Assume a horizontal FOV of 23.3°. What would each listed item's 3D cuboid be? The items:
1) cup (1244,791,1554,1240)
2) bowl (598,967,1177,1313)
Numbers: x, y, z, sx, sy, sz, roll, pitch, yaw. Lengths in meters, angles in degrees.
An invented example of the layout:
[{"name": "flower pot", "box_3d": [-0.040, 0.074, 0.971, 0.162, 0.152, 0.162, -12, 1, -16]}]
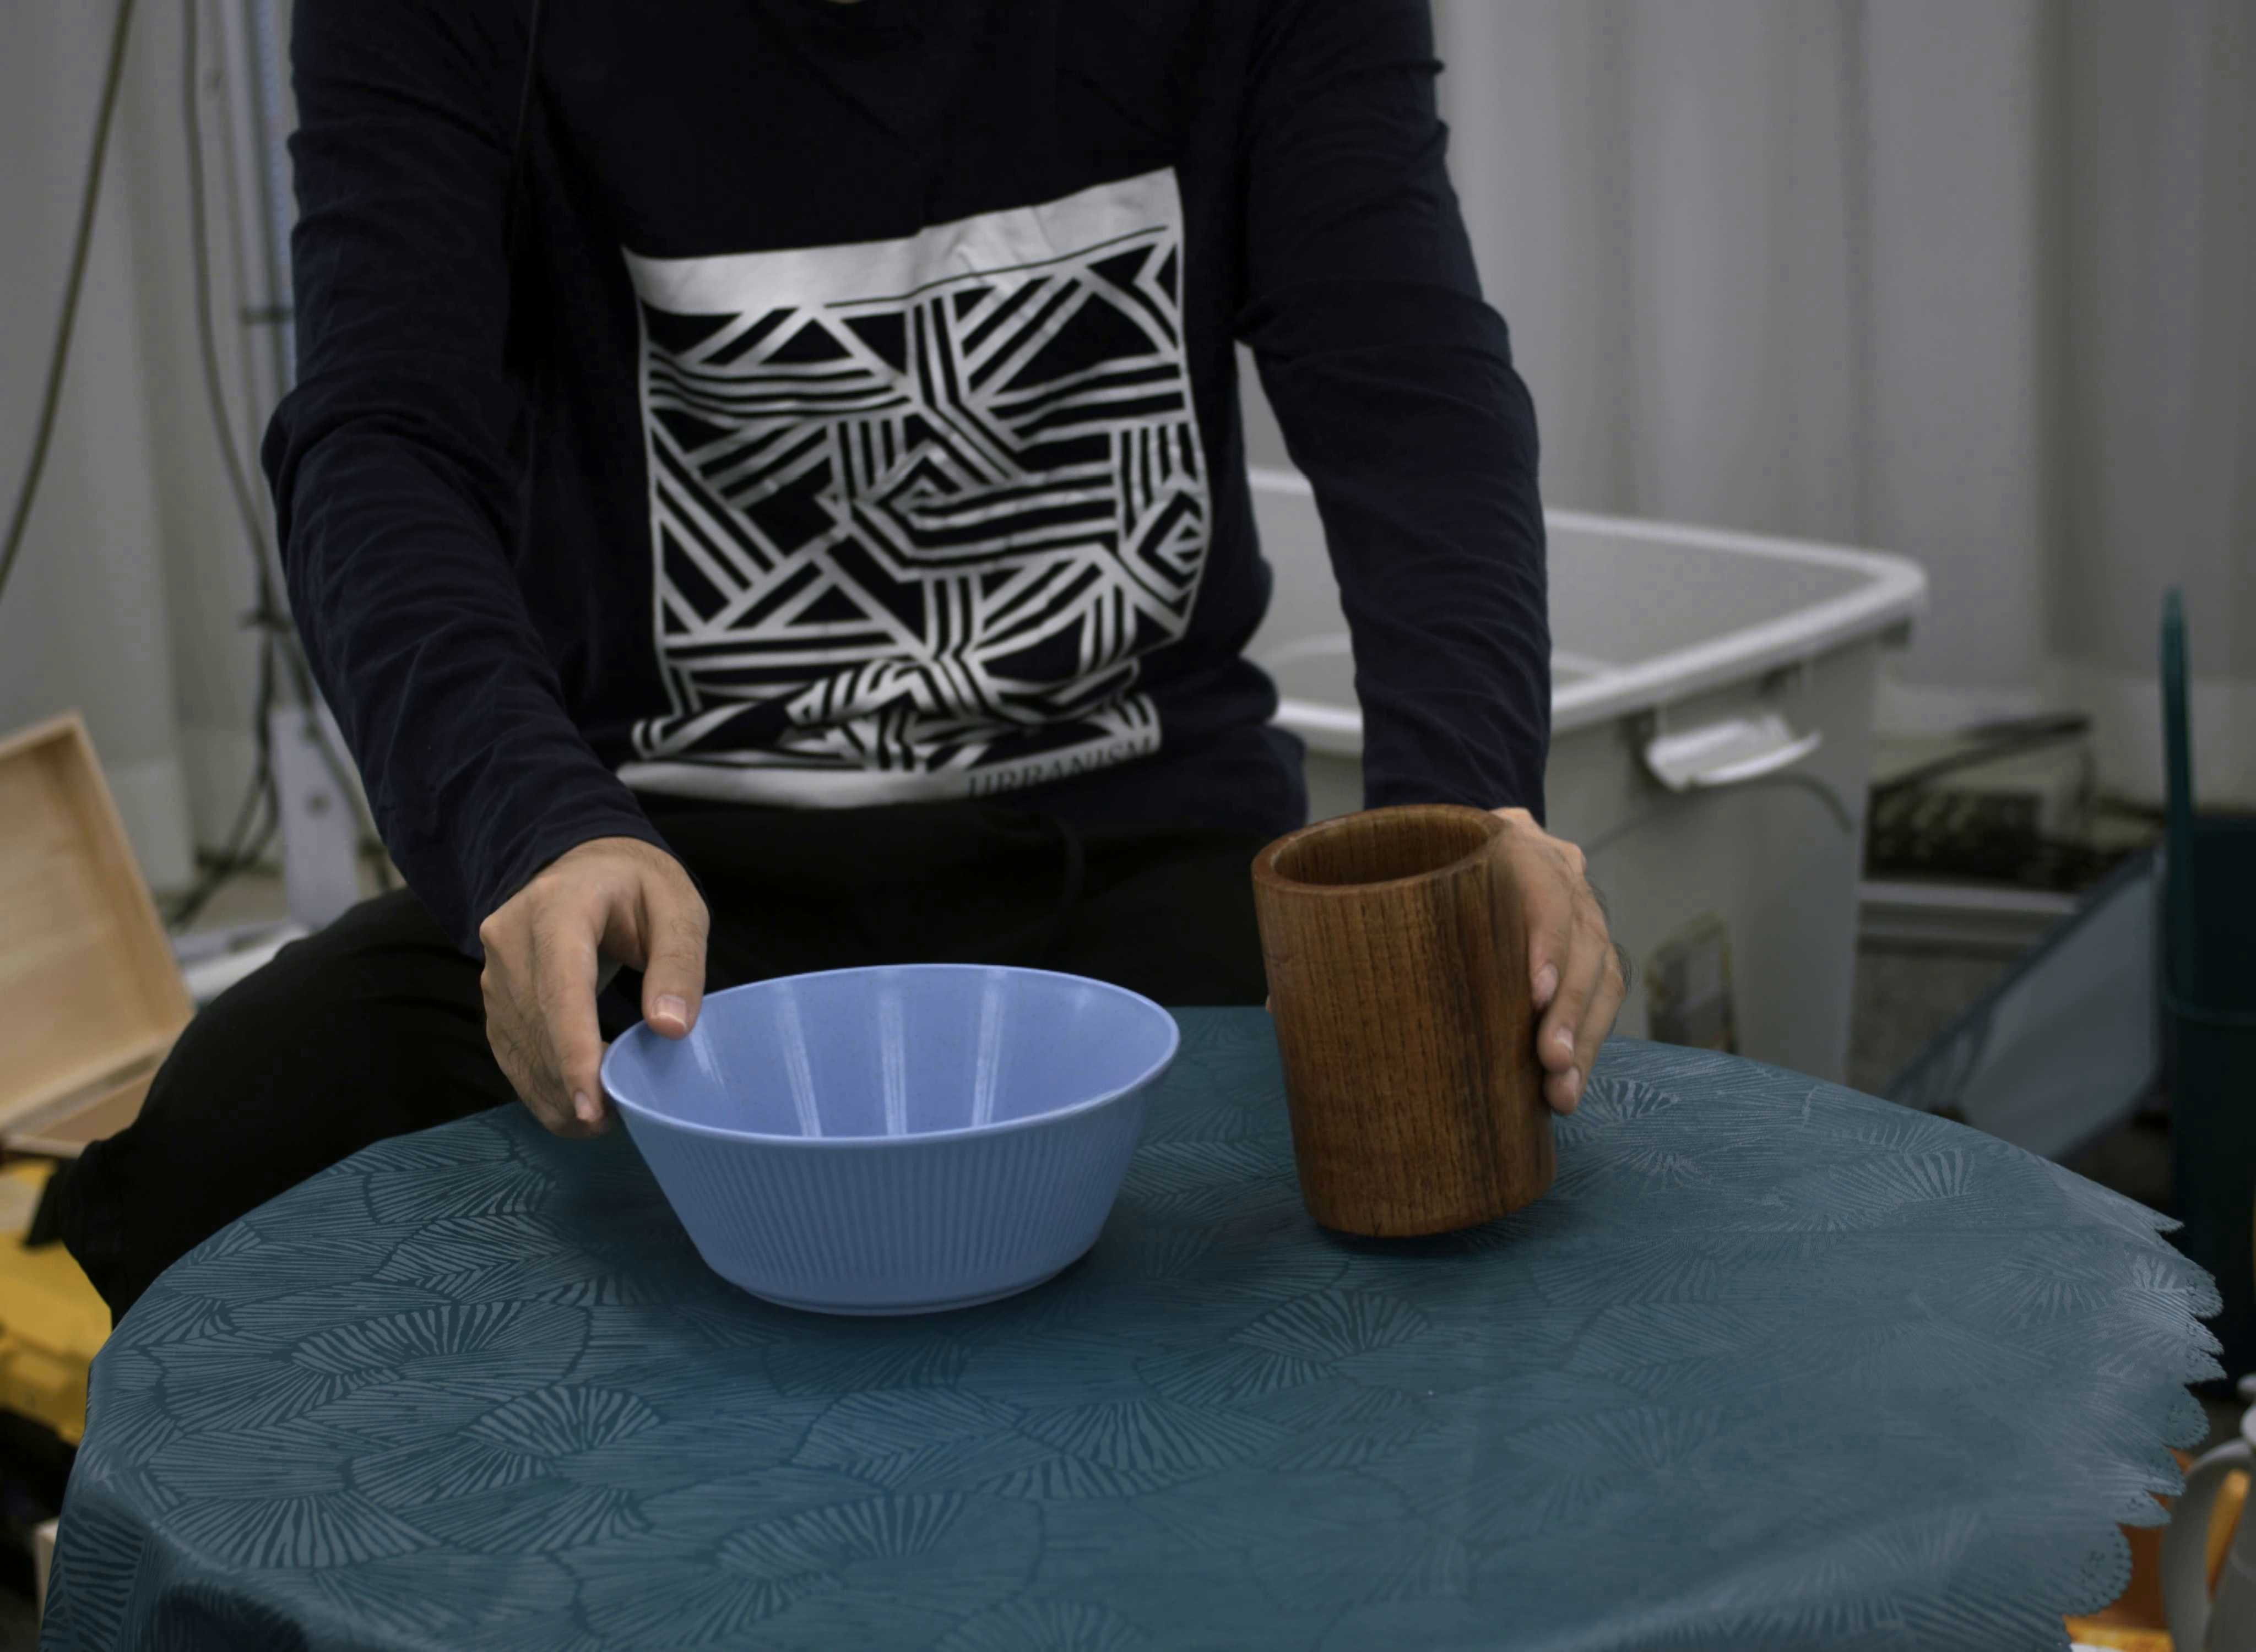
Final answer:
[{"name": "cup", "box_3d": [0.082, 0.057, 1.655, 0.087, 0.118, 0.088, -7, 14, 2]}, {"name": "bowl", "box_3d": [-0.071, 0.097, 1.658, 0.175, 0.070, 0.177, -2, 14, 0]}]
